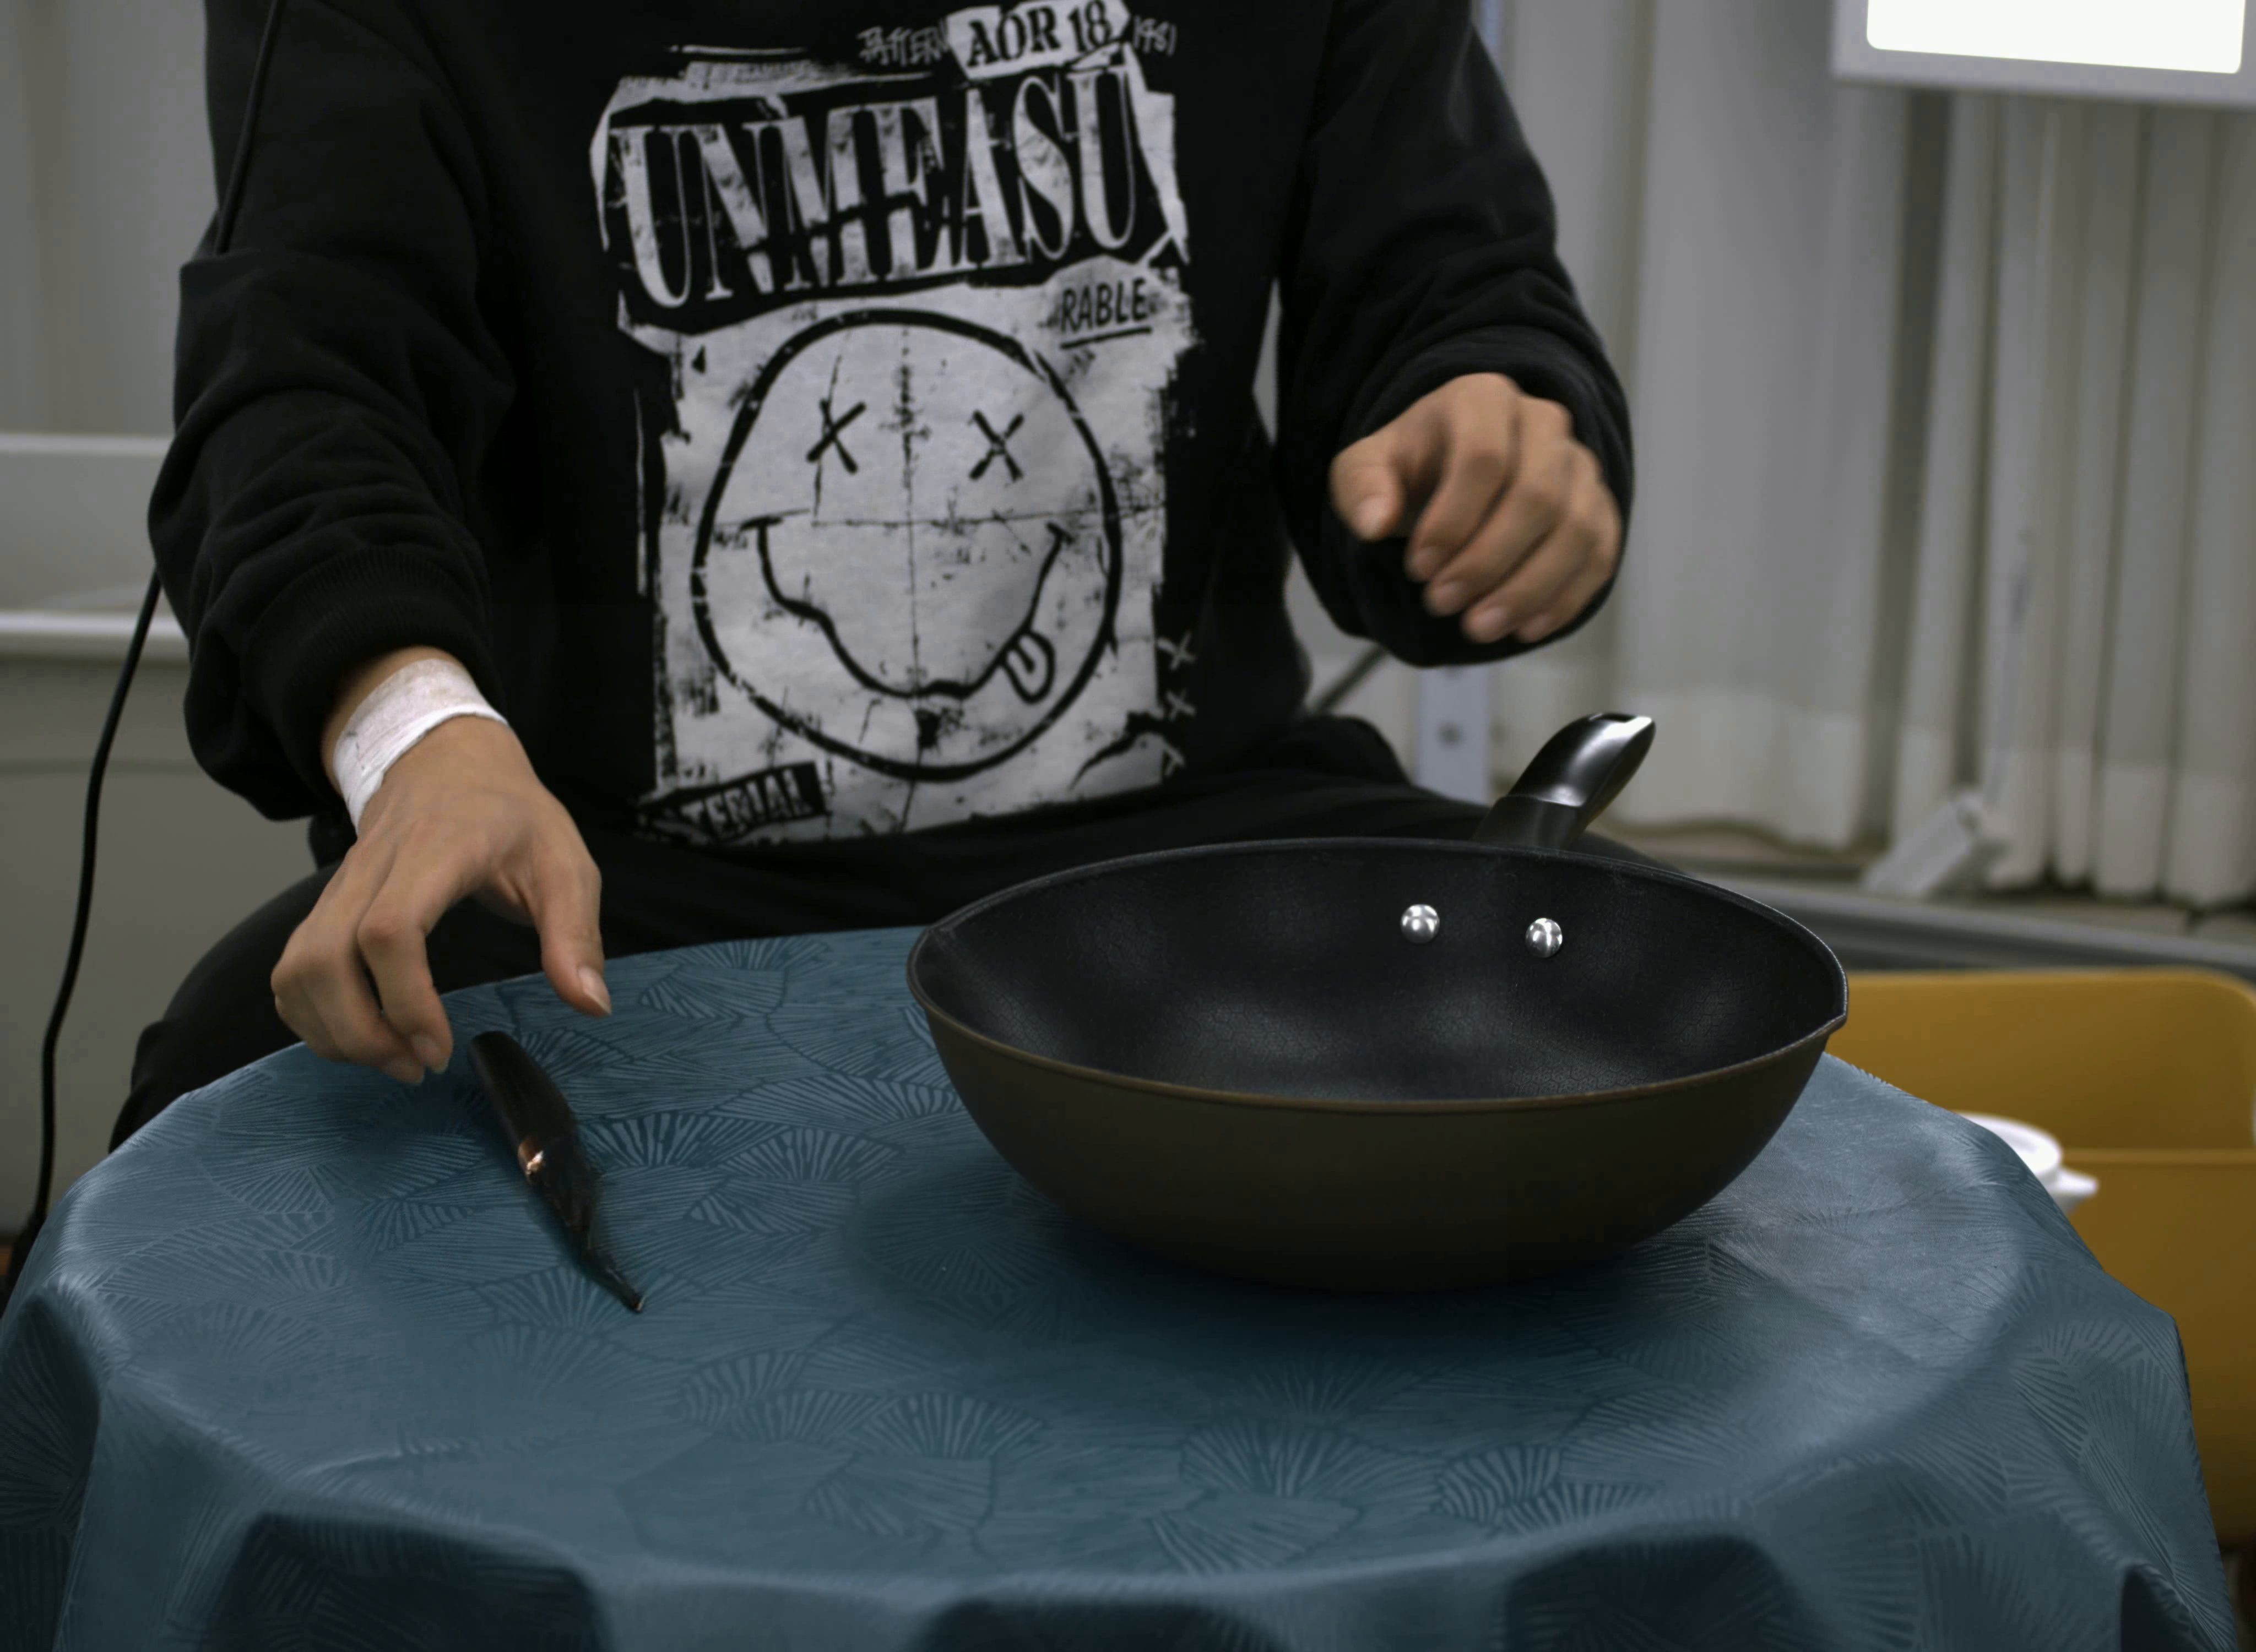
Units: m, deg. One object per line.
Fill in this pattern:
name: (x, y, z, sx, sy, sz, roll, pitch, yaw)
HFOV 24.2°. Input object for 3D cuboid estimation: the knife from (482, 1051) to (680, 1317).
knife: (-0.170, 0.109, 1.615, 0.026, 0.017, 0.223, 11, 12, -21)

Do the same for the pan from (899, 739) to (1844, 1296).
pan: (0.101, 0.057, 1.674, 0.285, 0.087, 0.463, 6, 15, 18)
